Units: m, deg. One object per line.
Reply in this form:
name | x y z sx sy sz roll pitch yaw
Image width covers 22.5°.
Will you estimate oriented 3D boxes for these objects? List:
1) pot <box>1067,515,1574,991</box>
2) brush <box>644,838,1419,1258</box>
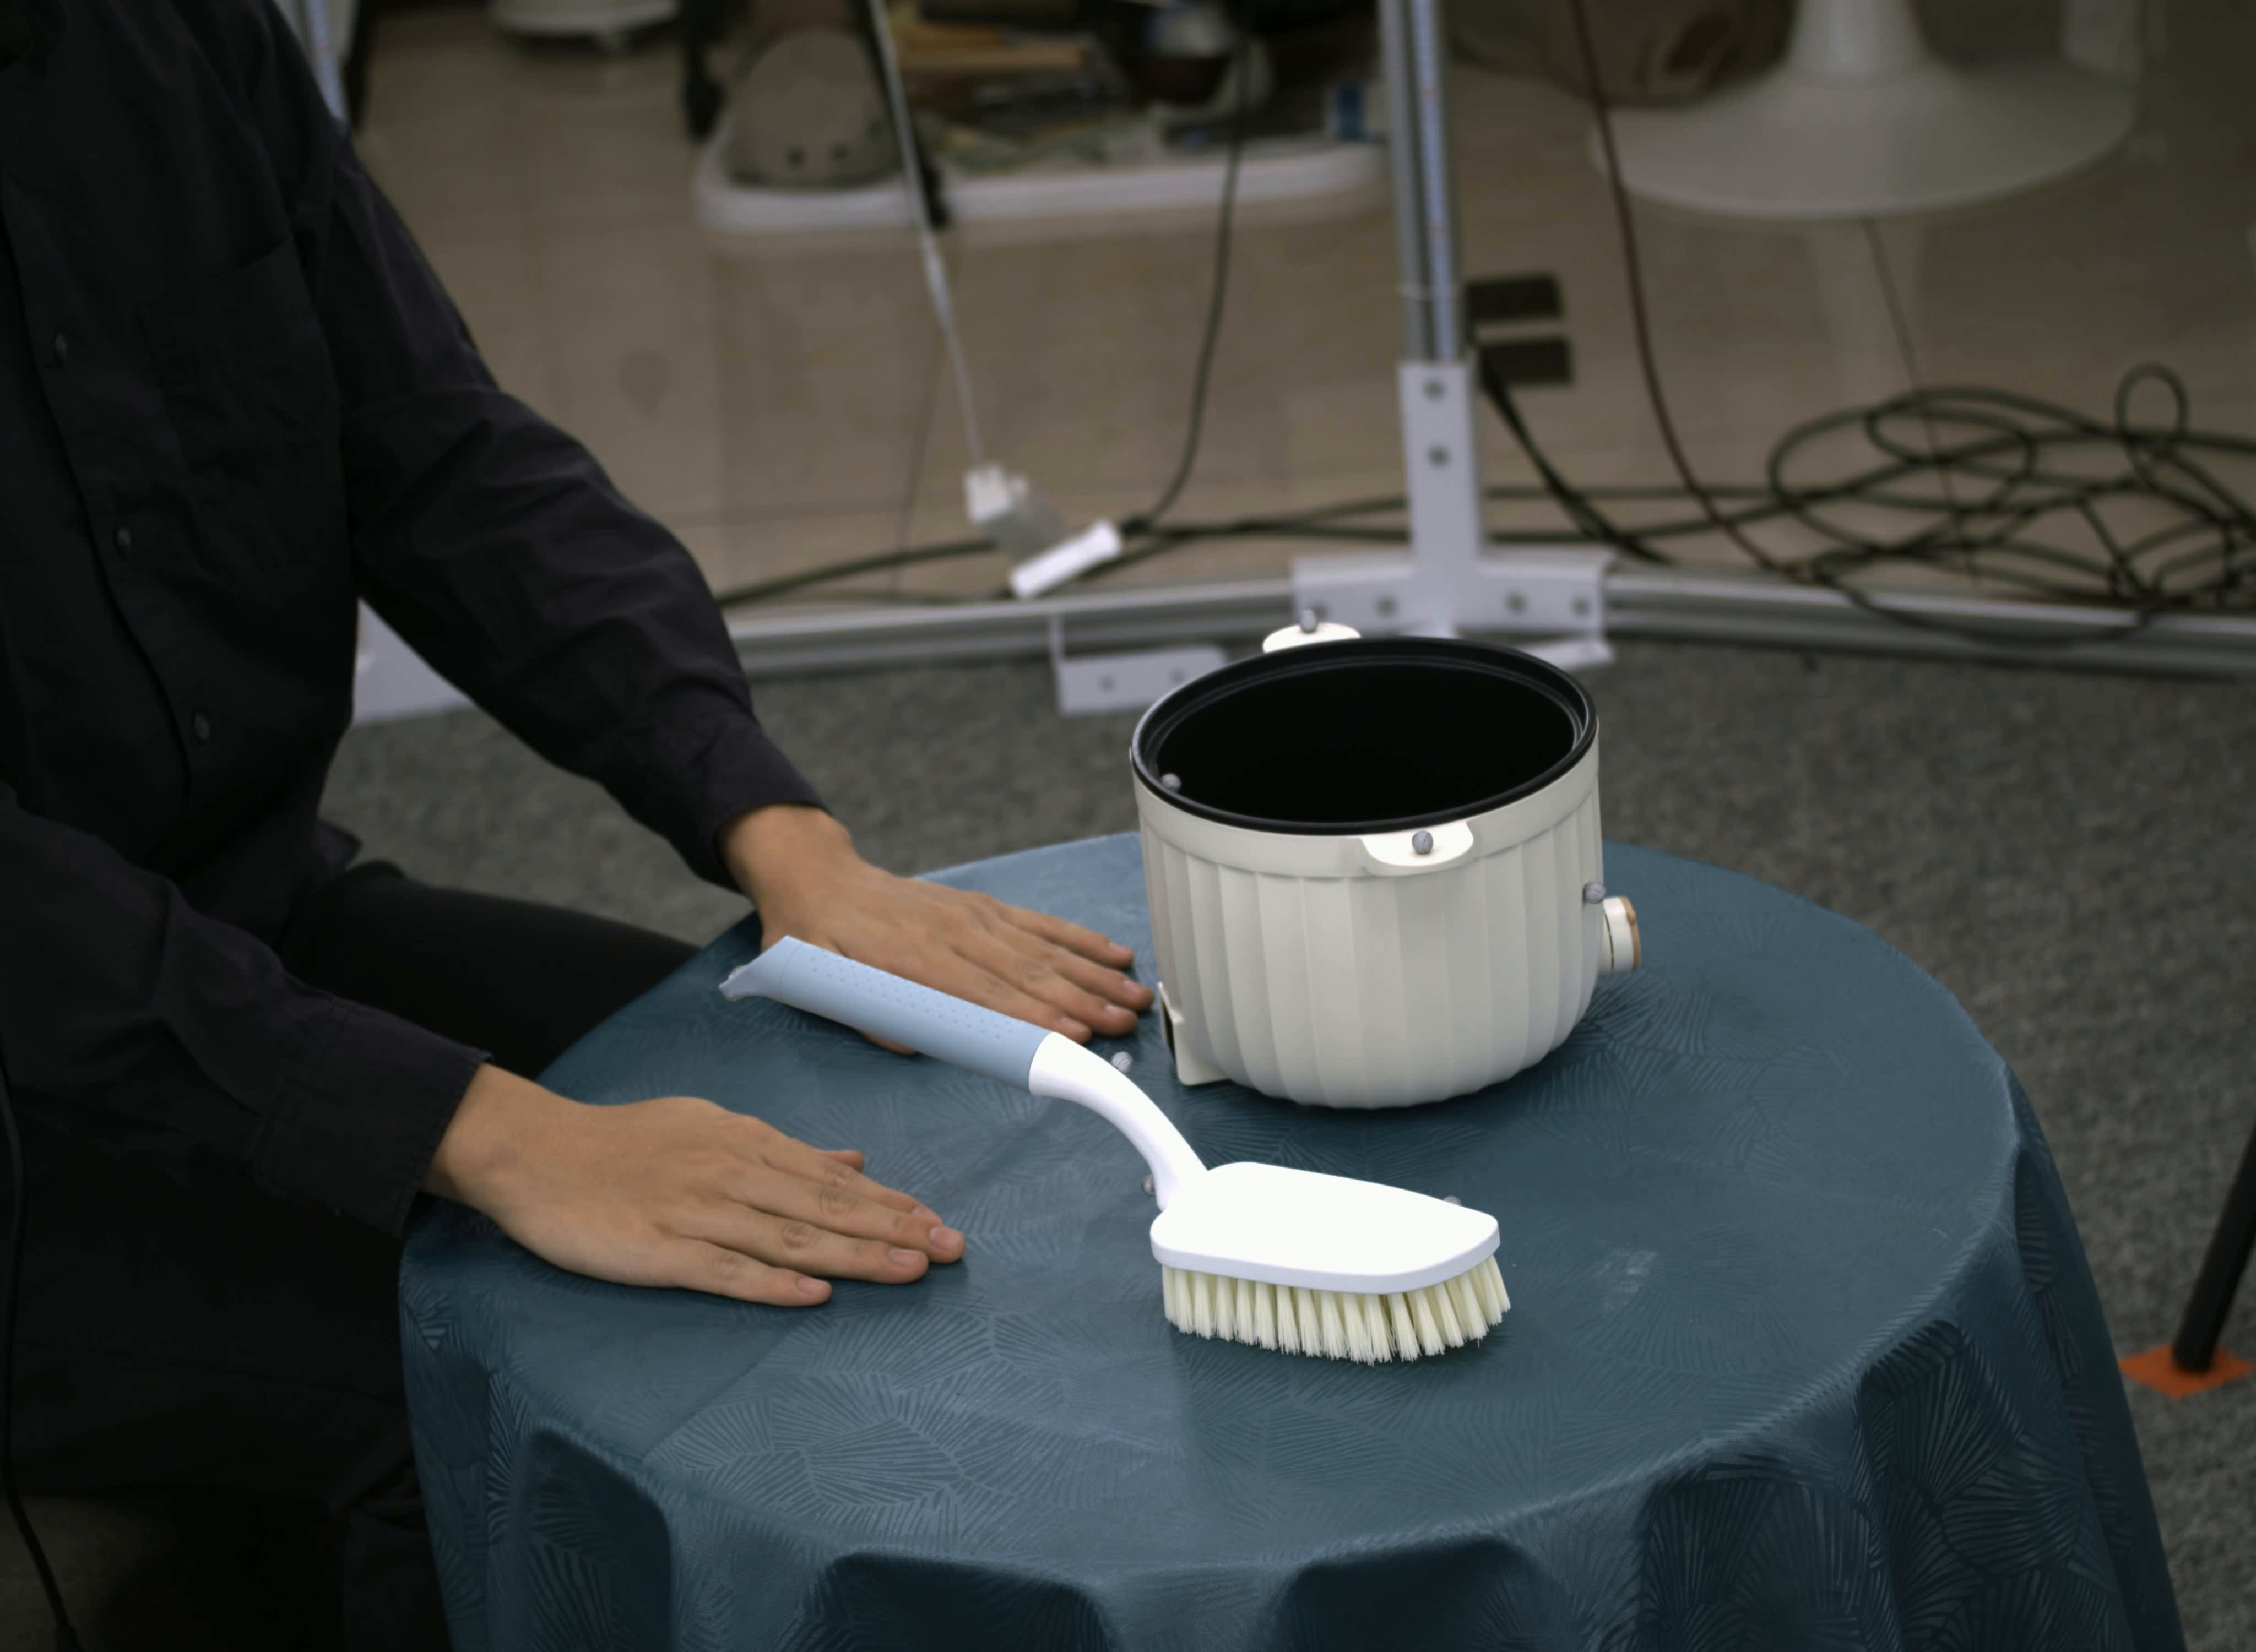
pot | 0.078 -0.024 2.244 0.190 0.145 0.237 -12 28 -6
brush | -0.040 0.092 2.103 0.323 0.084 0.083 20 -2 21
